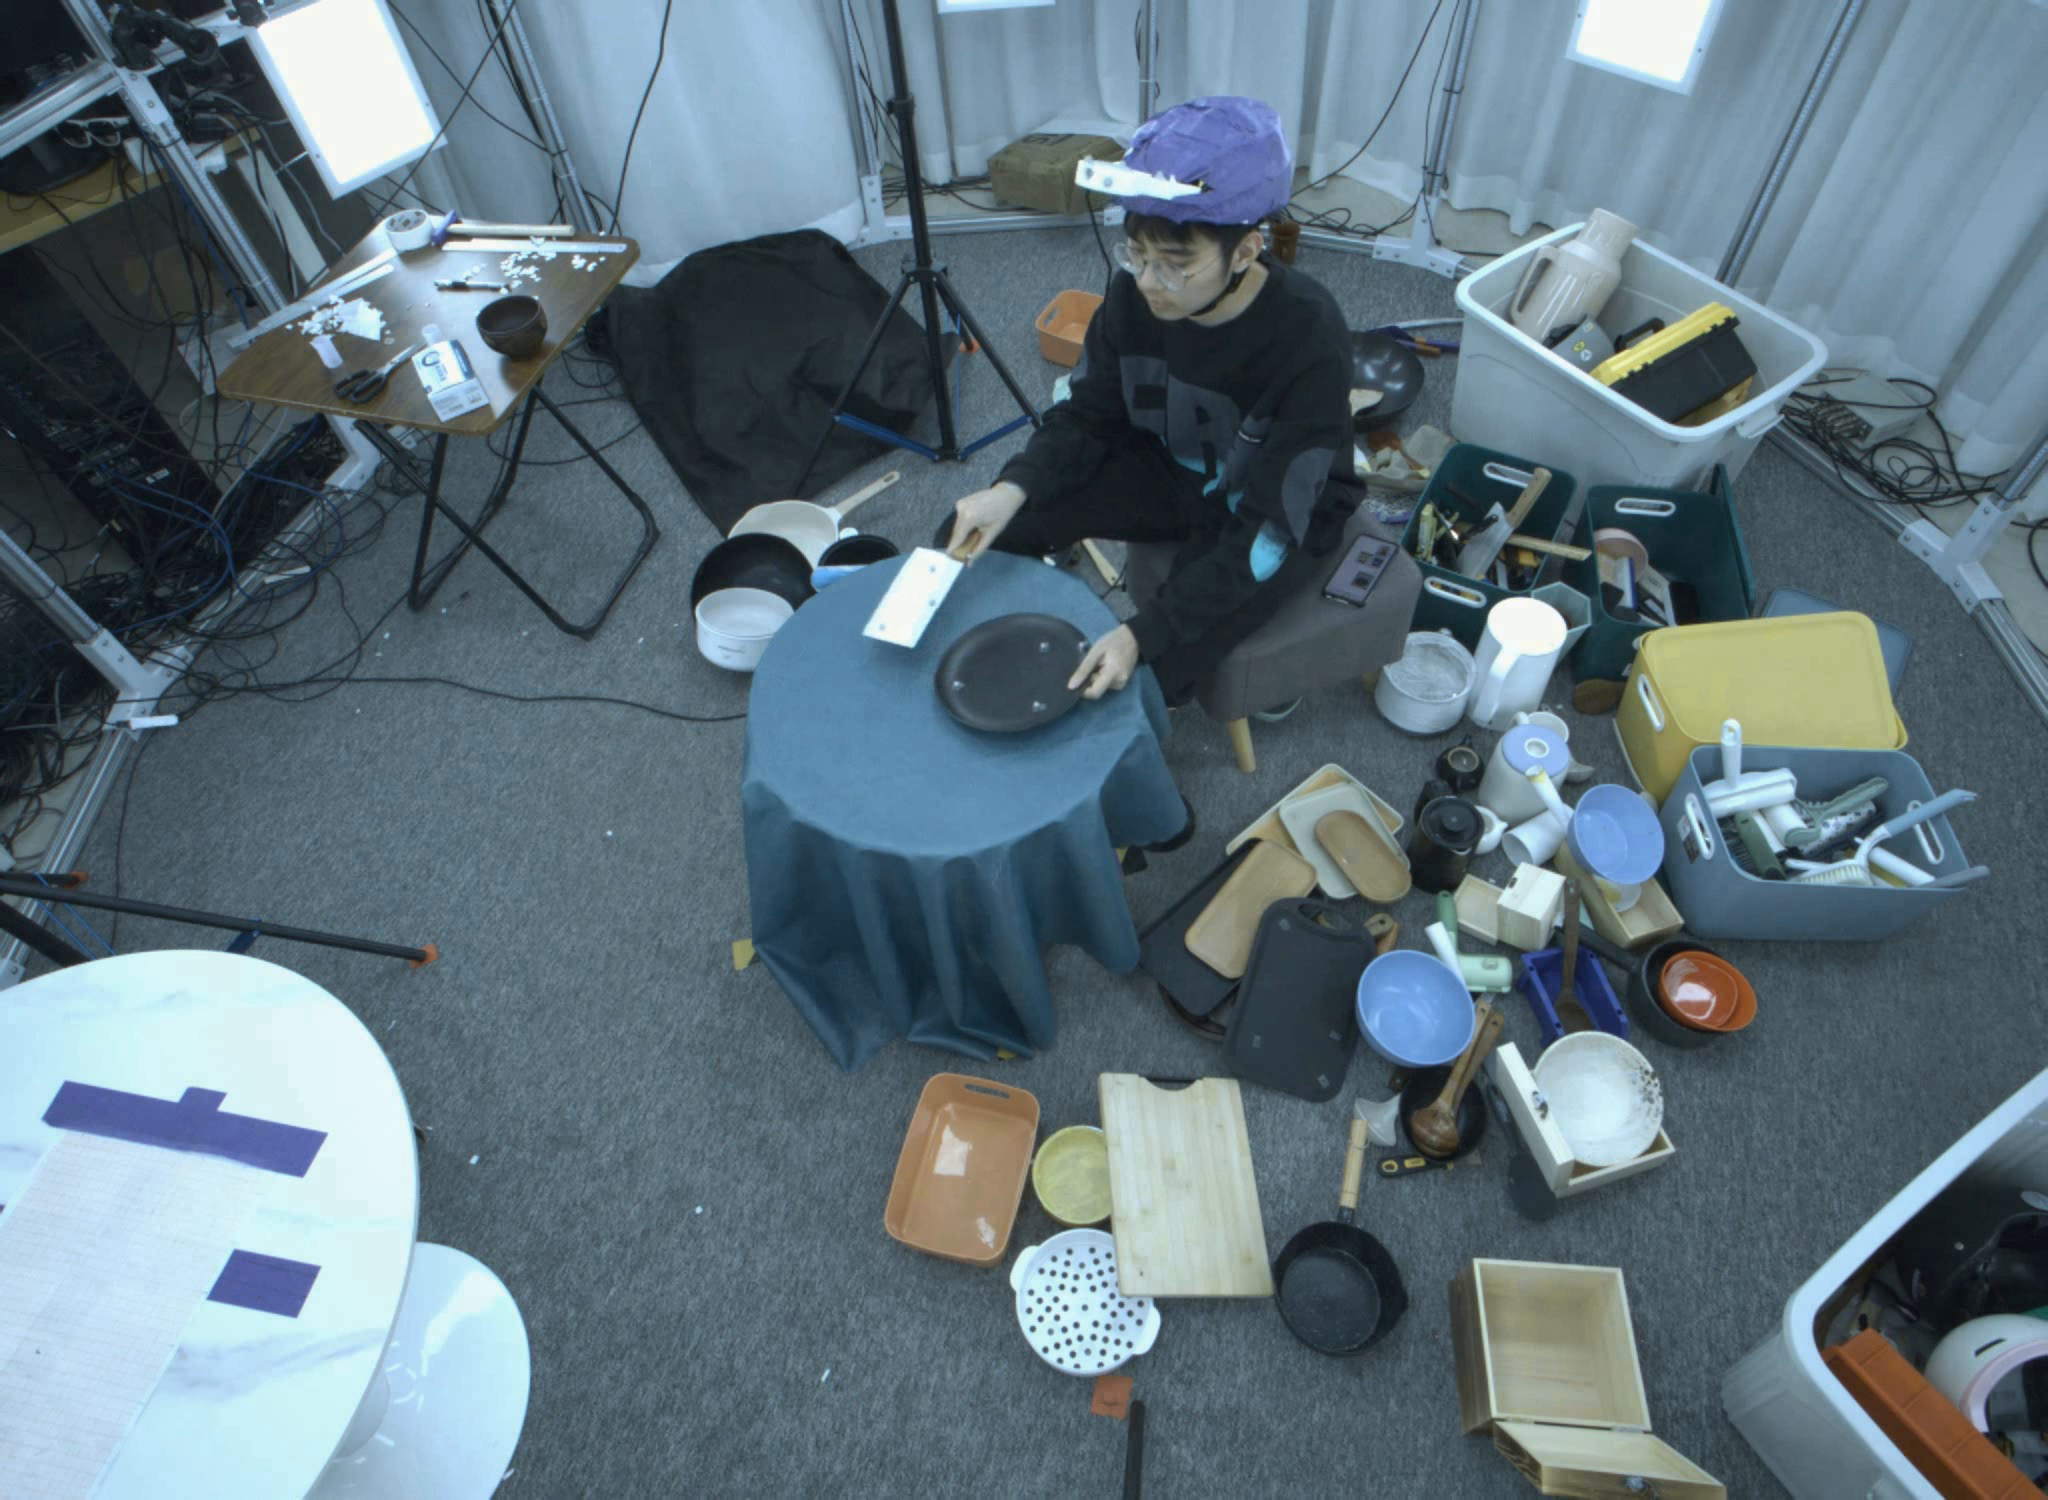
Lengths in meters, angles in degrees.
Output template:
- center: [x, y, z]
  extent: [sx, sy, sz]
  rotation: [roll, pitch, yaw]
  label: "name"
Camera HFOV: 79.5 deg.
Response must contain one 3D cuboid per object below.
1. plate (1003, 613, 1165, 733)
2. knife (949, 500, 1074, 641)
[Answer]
- center: [0.089, -0.112, 1.834]
  extent: [0.243, 0.024, 0.242]
  rotation: [-5, 50, 7]
  label: "plate"
- center: [-0.022, -0.289, 1.913]
  extent: [0.091, 0.021, 0.306]
  rotation: [21, 62, 19]
  label: "knife"
